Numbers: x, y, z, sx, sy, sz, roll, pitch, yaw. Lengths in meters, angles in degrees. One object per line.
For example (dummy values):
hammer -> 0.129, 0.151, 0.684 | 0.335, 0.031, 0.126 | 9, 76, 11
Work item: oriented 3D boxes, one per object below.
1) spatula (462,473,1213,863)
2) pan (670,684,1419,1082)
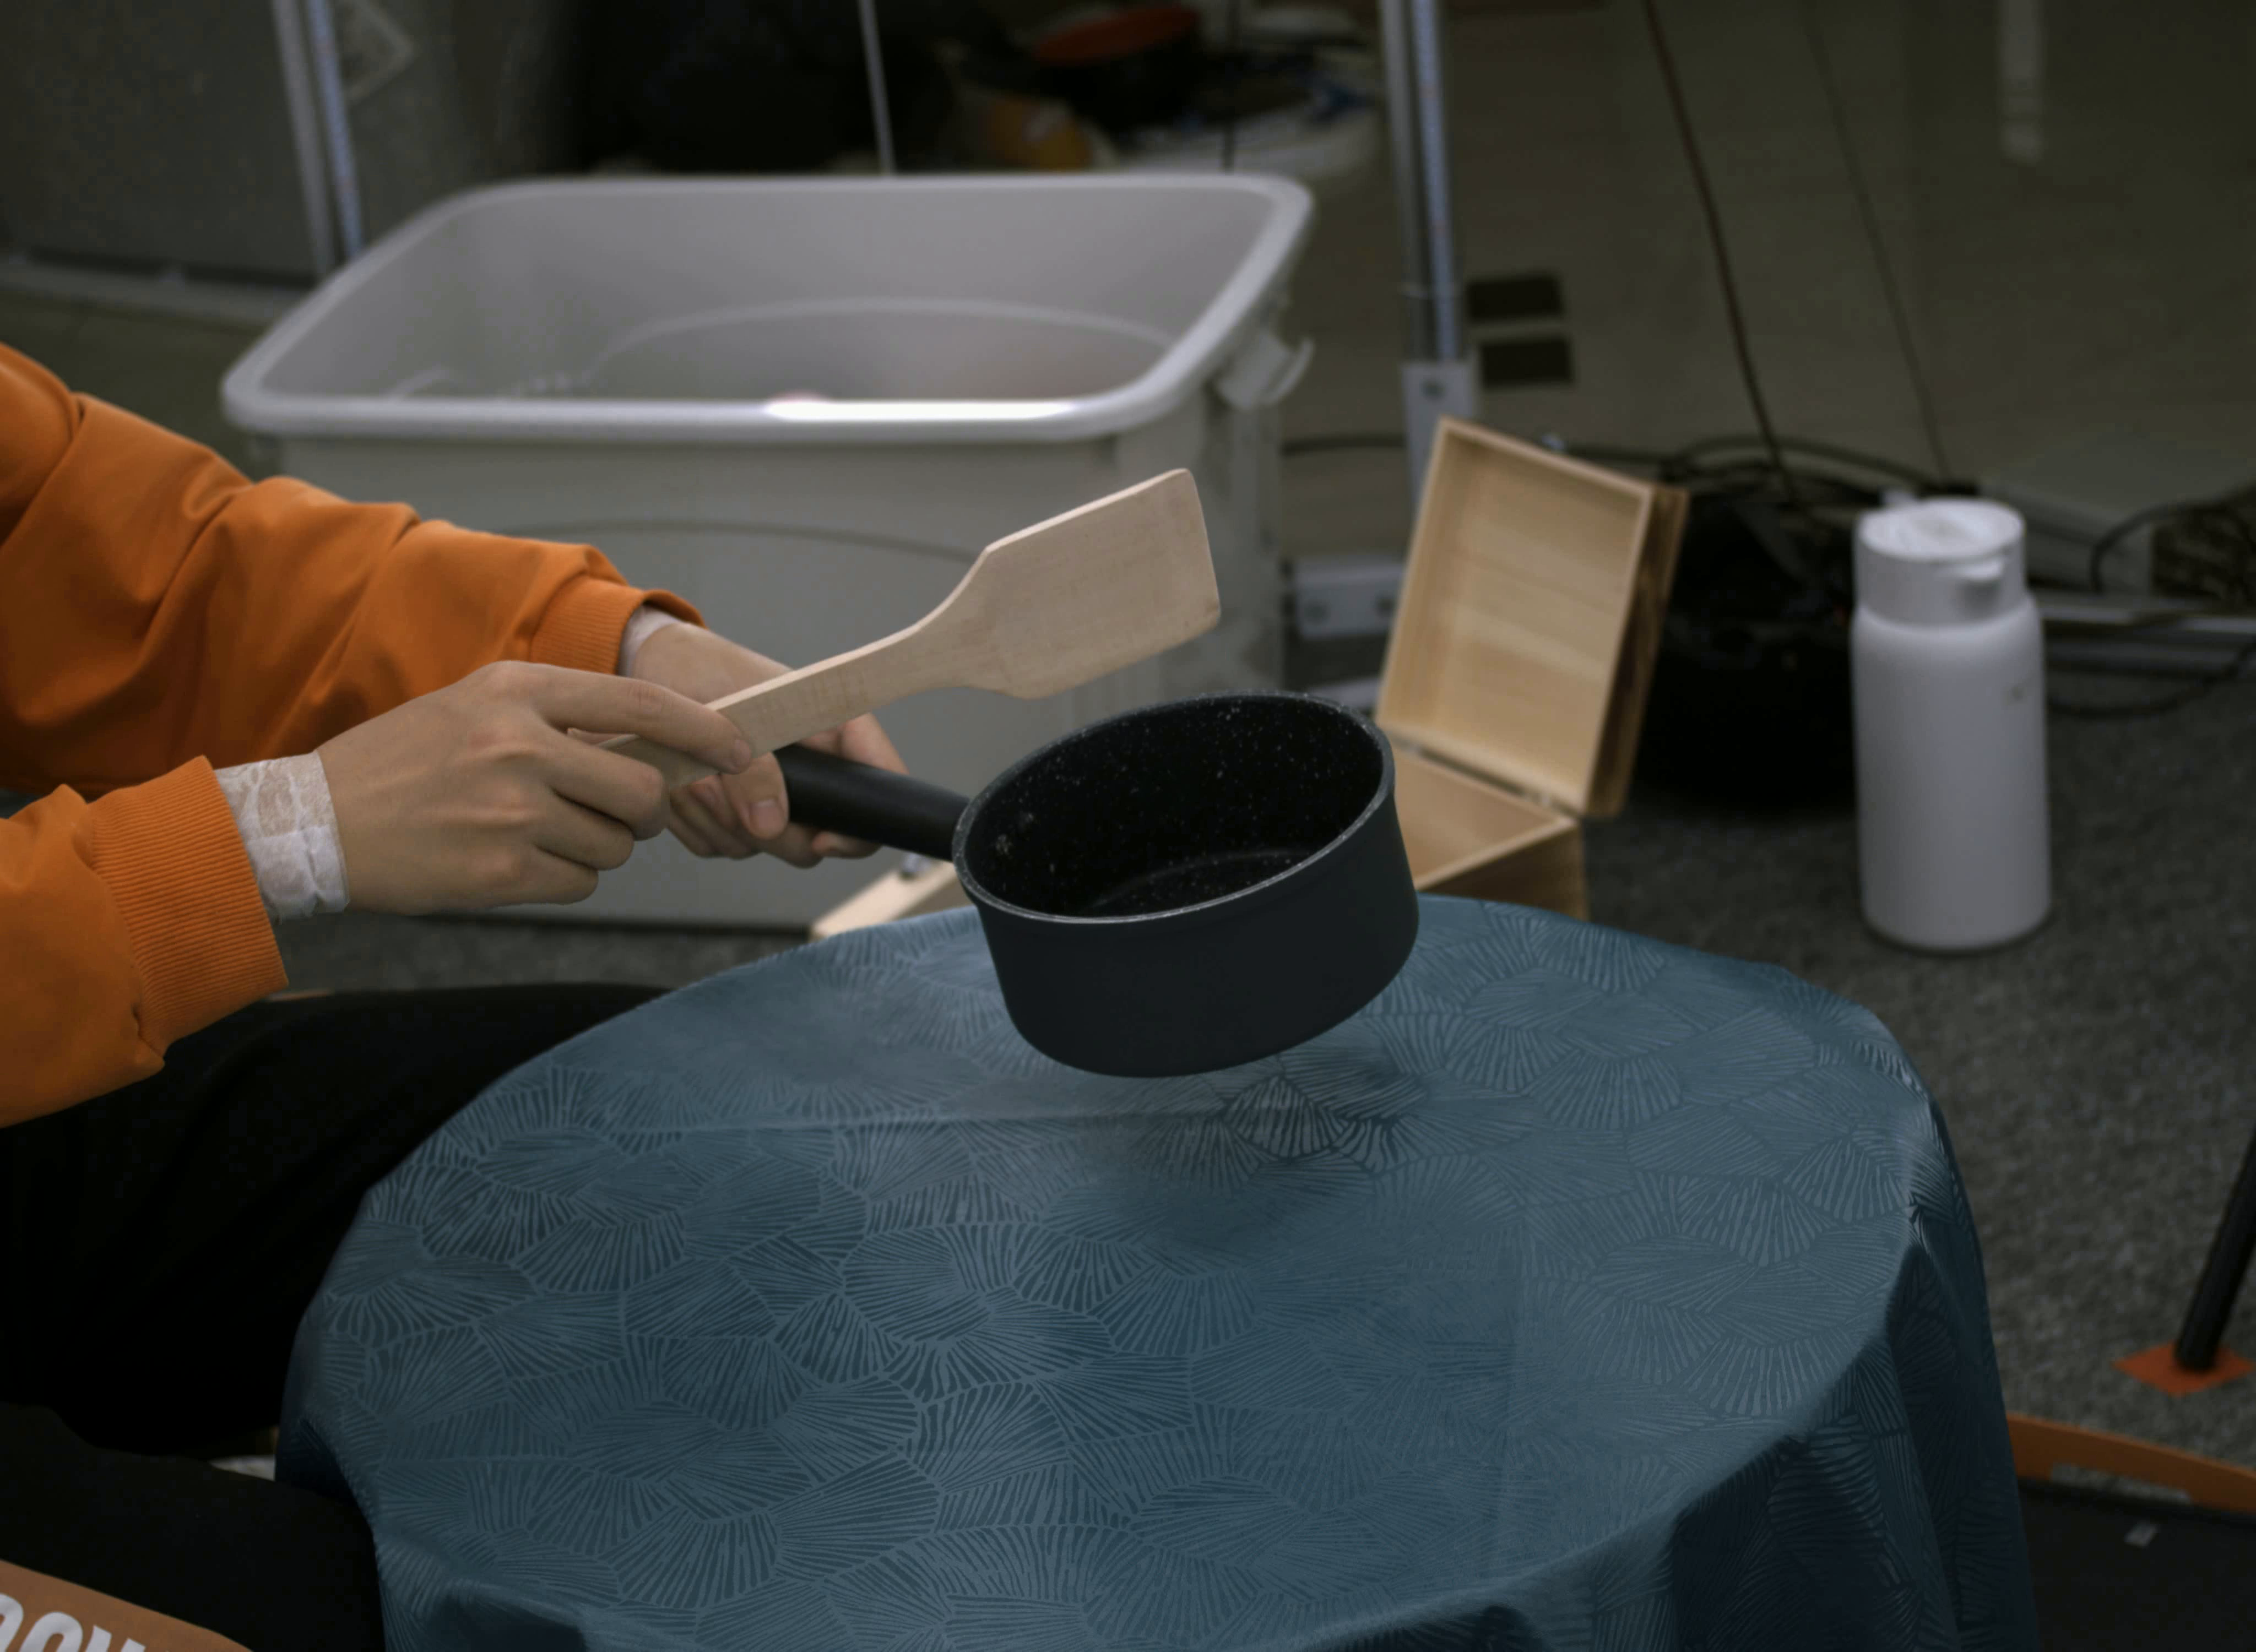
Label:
spatula -> -0.104, -0.050, 2.040 | 0.292, 0.073, 0.010 | -22, 38, -13
pan -> -0.040, 0.011, 2.200 | 0.327, 0.088, 0.170 | 10, 37, 35
